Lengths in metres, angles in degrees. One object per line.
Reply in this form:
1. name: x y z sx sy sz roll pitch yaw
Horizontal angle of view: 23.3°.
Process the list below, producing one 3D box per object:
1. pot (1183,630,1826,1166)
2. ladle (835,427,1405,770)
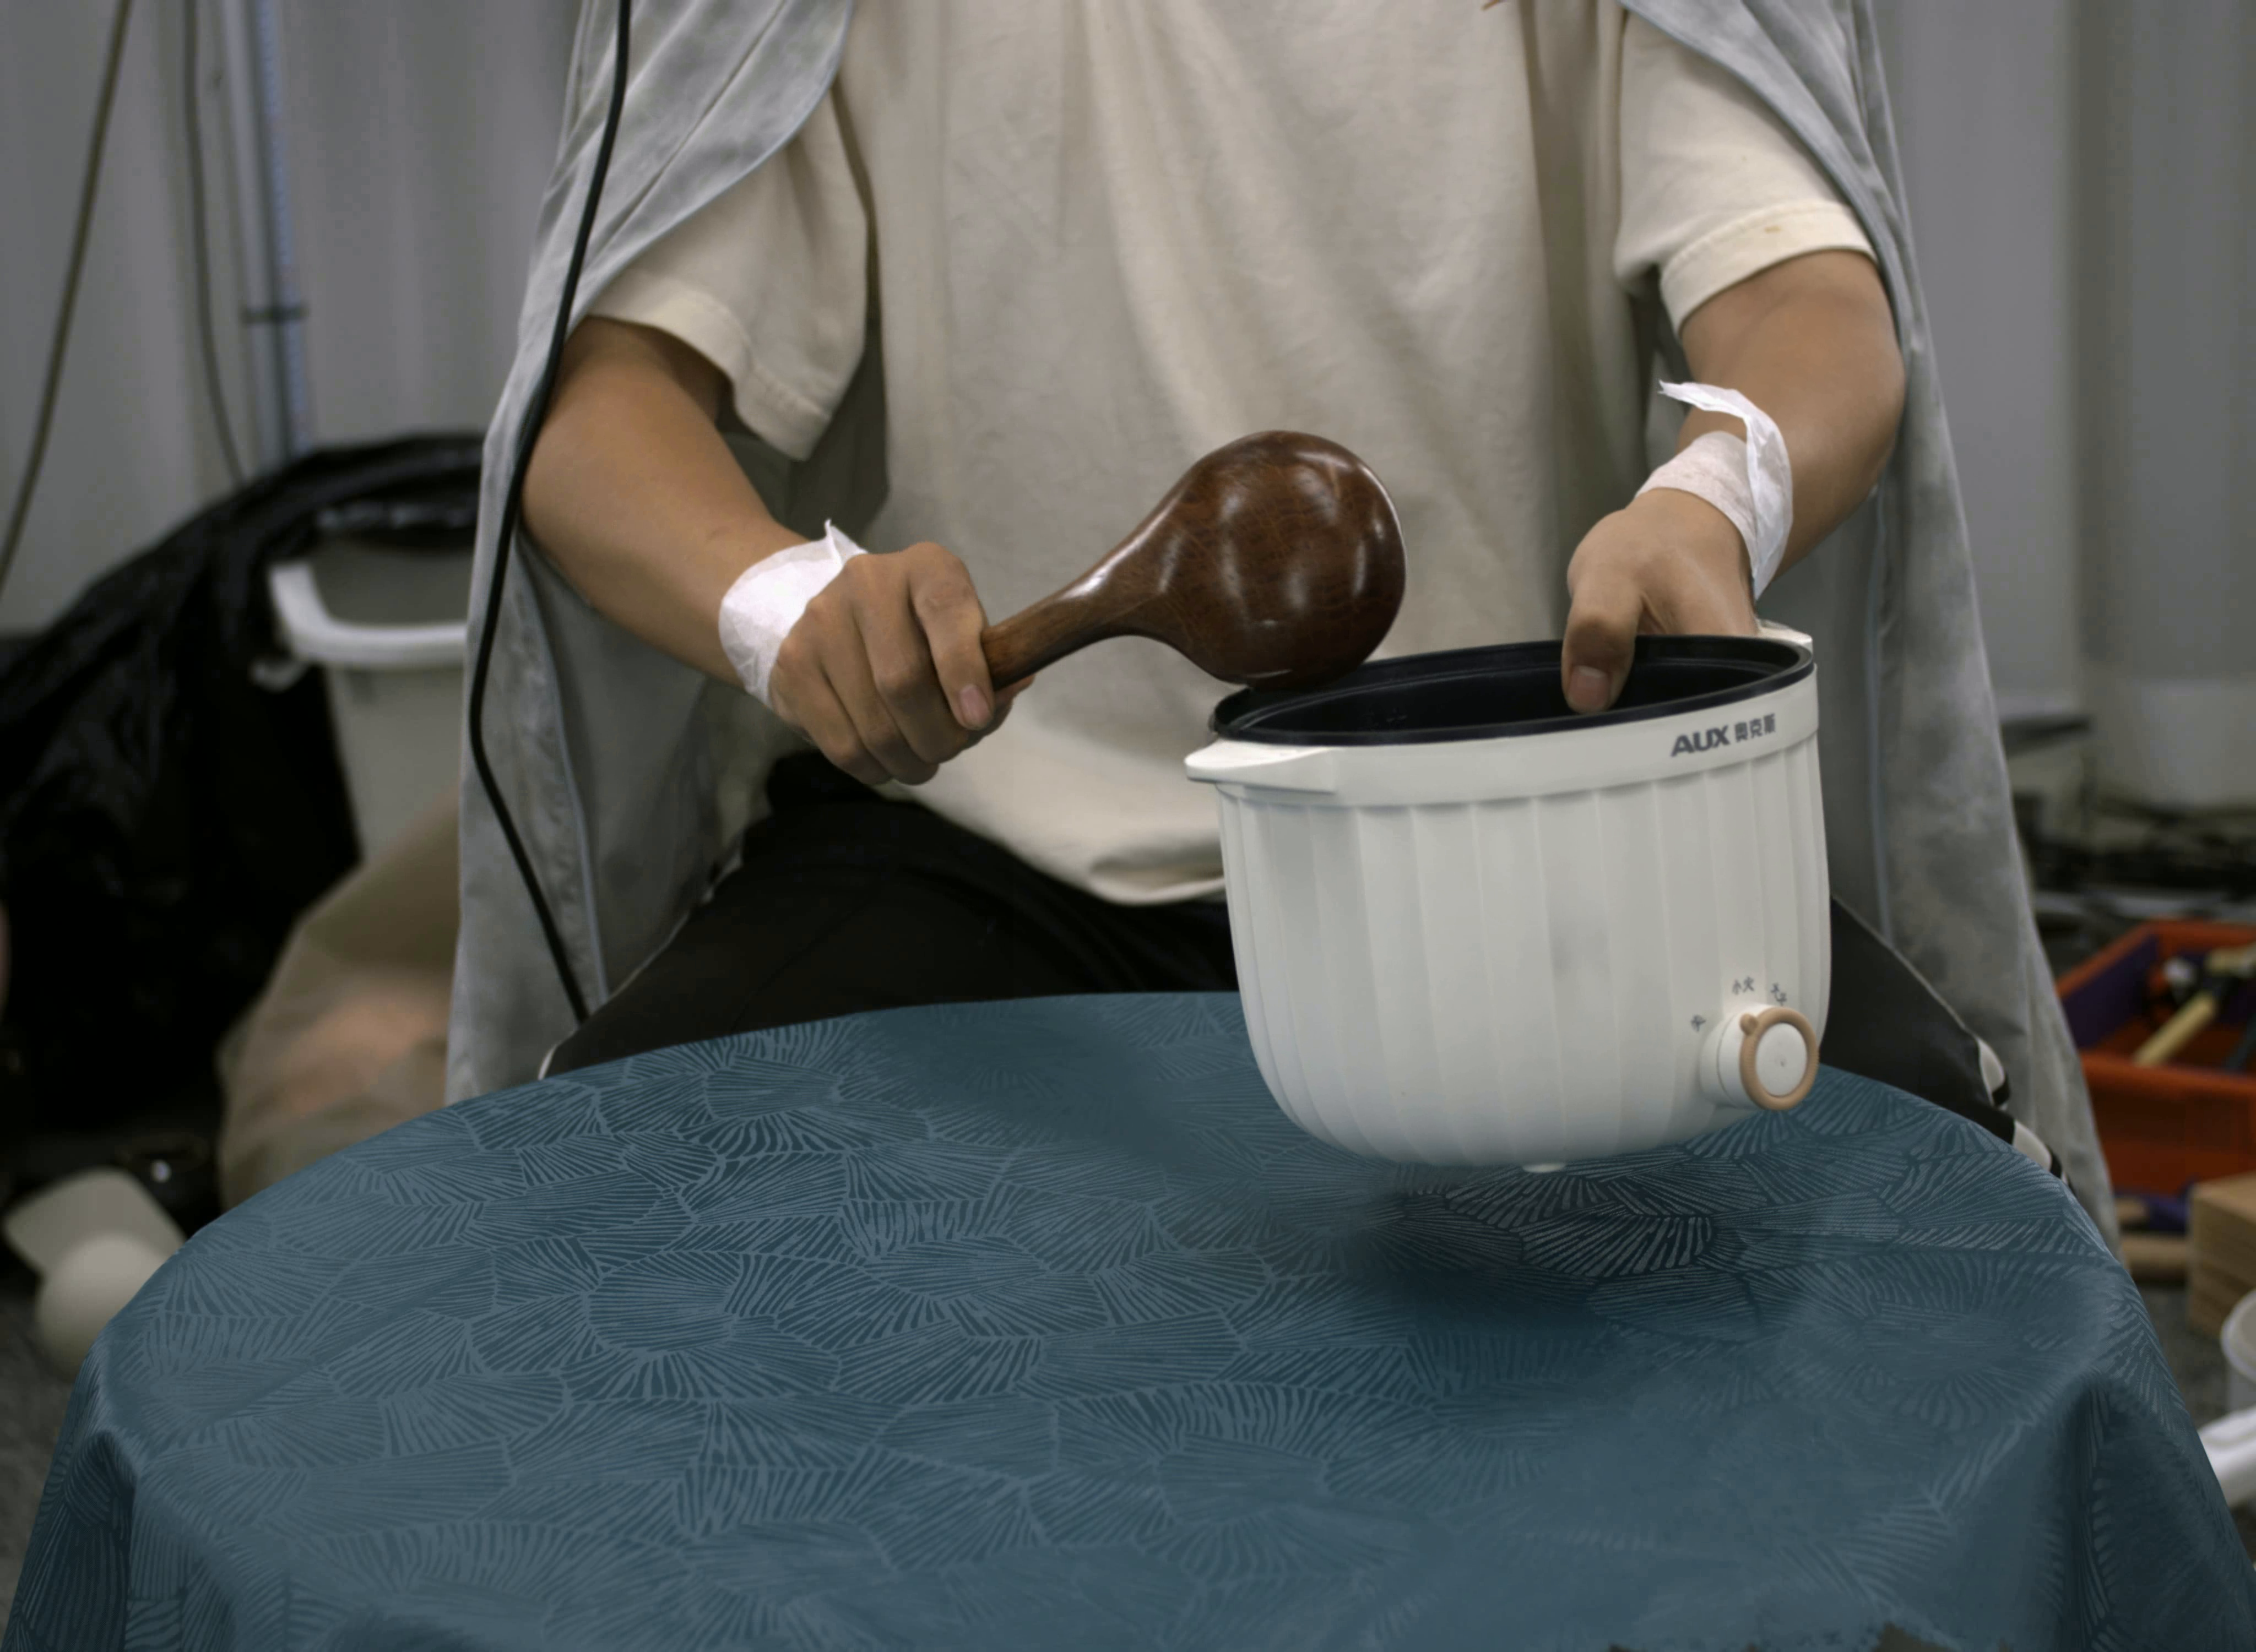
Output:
1. pot: 0.123 0.022 1.629 0.239 0.142 0.191 -14 8 -38
2. ladle: -0.005 -0.060 1.755 0.076 0.083 0.273 8 -16 -26
